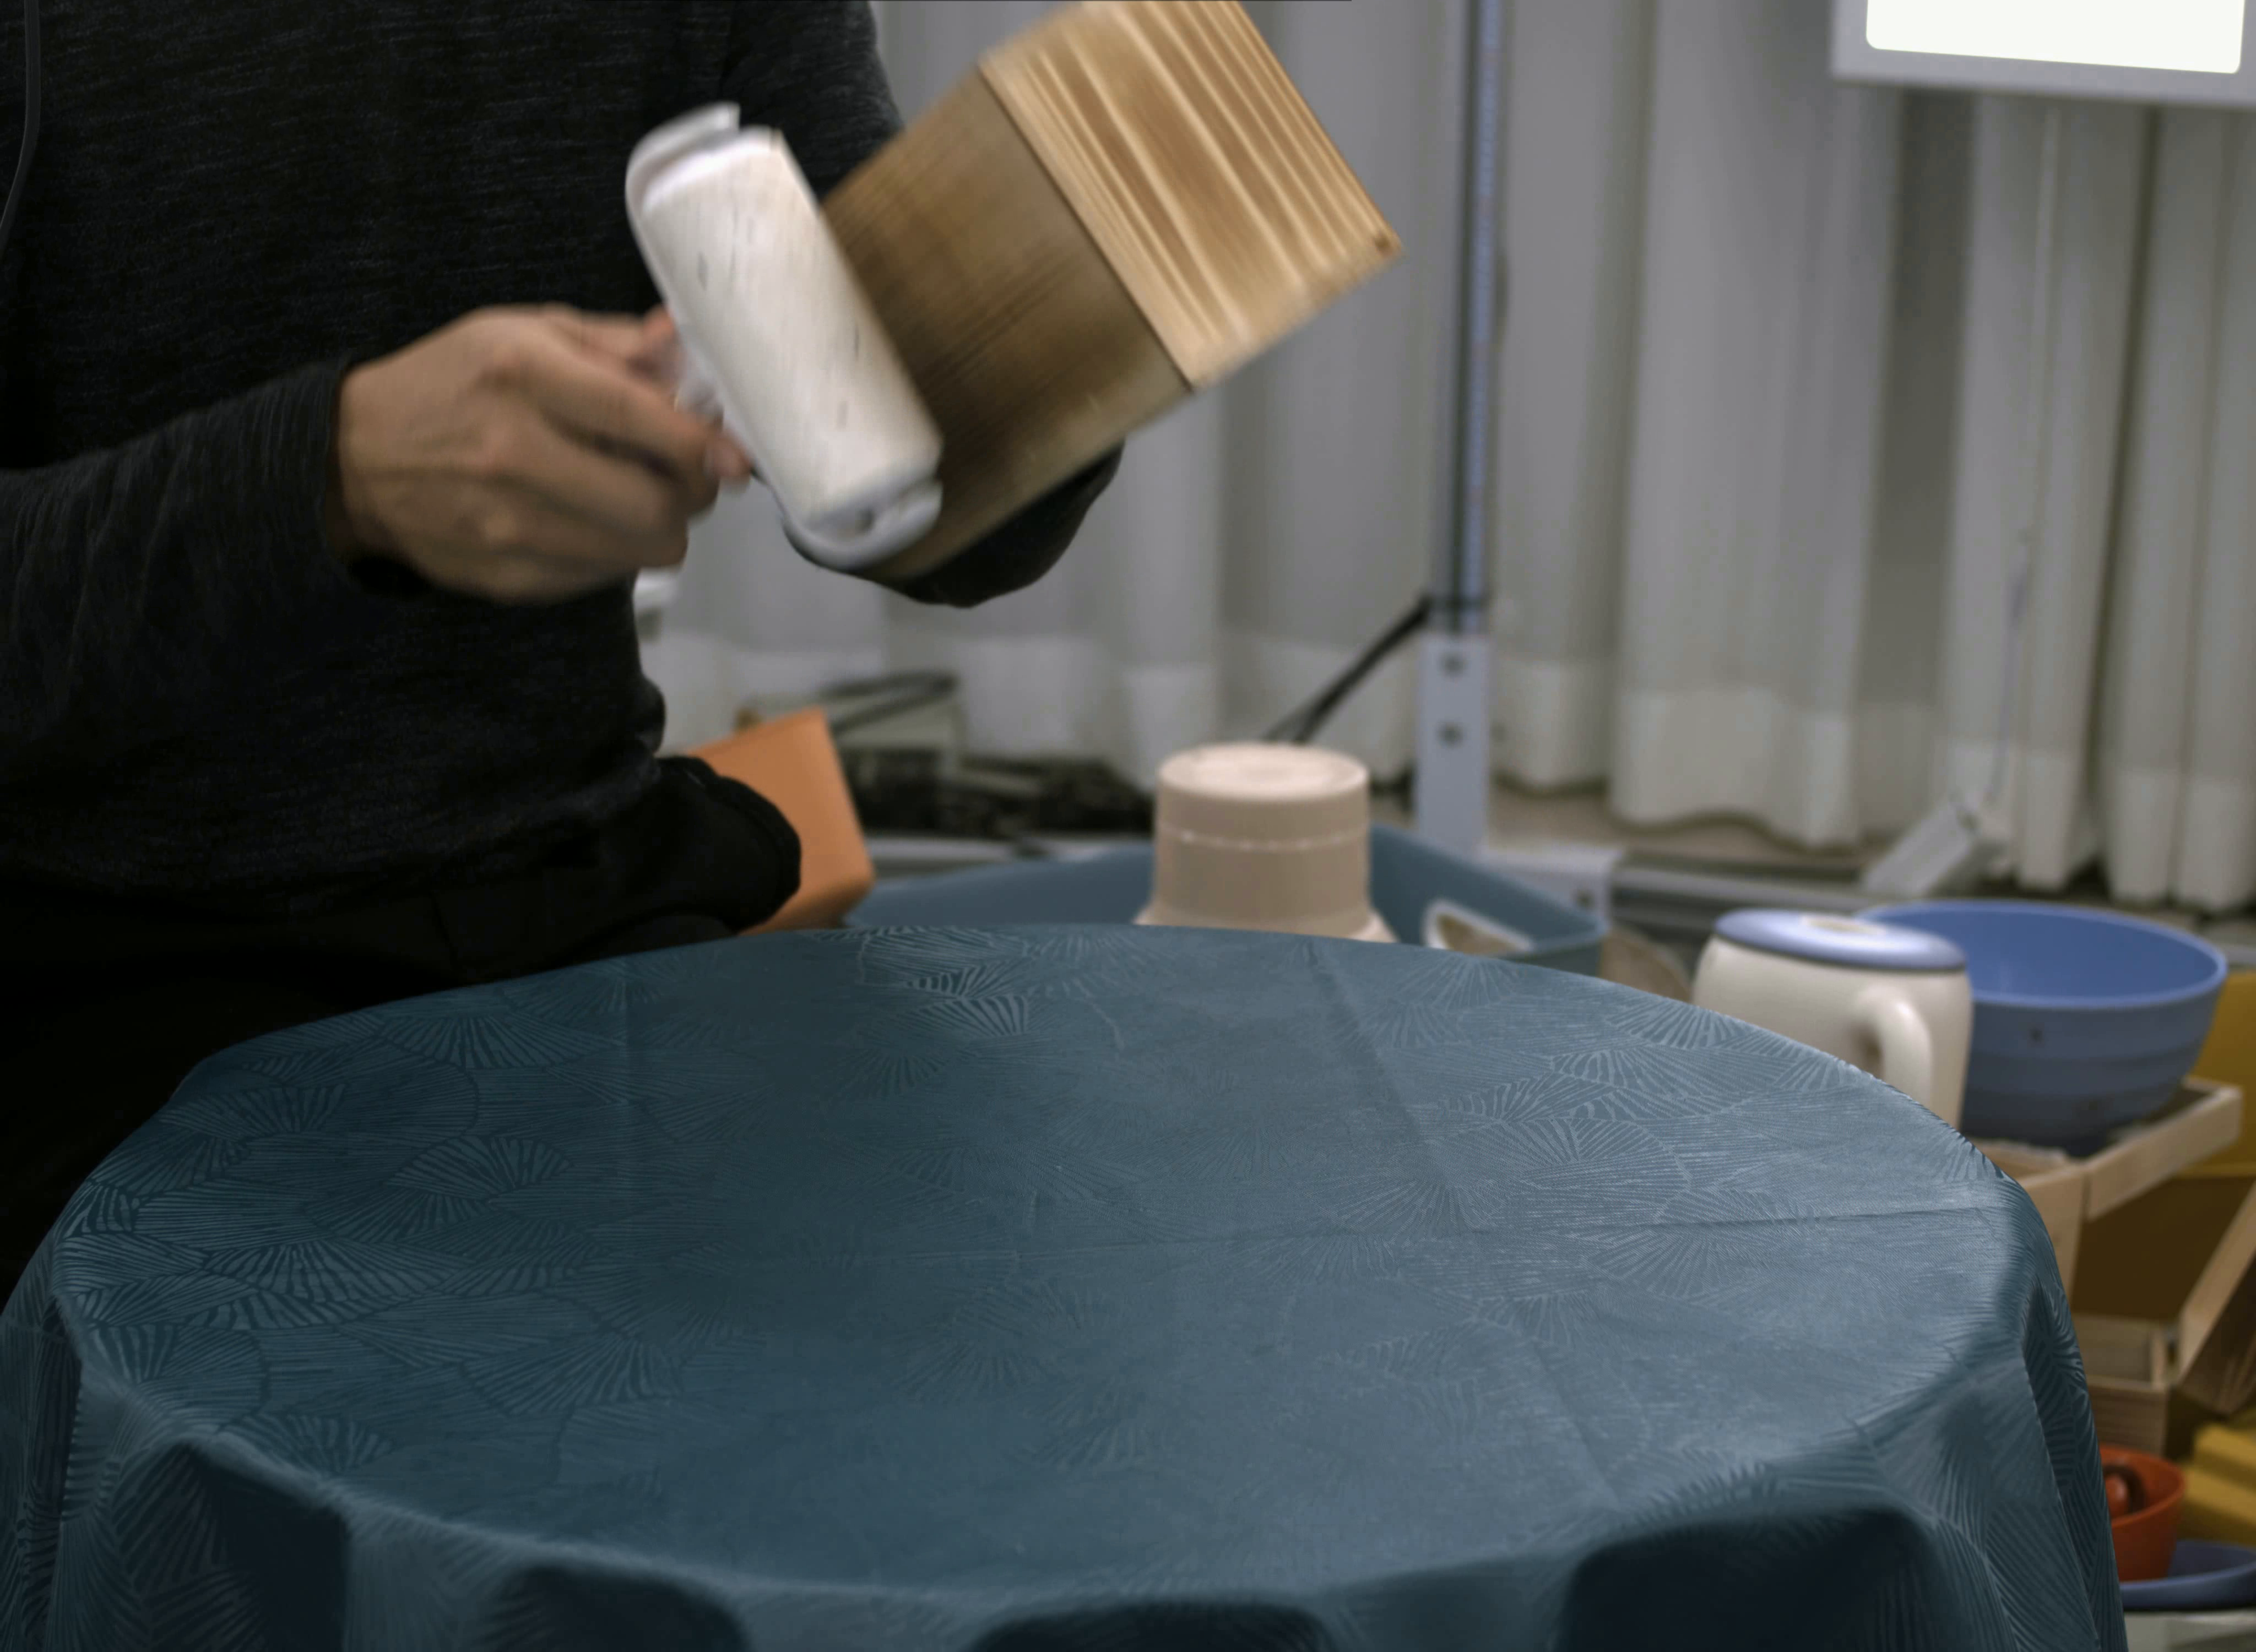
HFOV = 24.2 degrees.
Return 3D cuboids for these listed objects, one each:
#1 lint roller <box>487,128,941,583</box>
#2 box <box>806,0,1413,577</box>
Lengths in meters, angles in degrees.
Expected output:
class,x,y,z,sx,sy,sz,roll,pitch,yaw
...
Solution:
class,x,y,z,sx,sy,sz,roll,pitch,yaw
lint roller,-0.140,-0.113,1.510,0.180,0.133,0.050,-23,7,40
box,-0.020,-0.158,1.502,0.080,0.108,0.210,-37,5,-25
